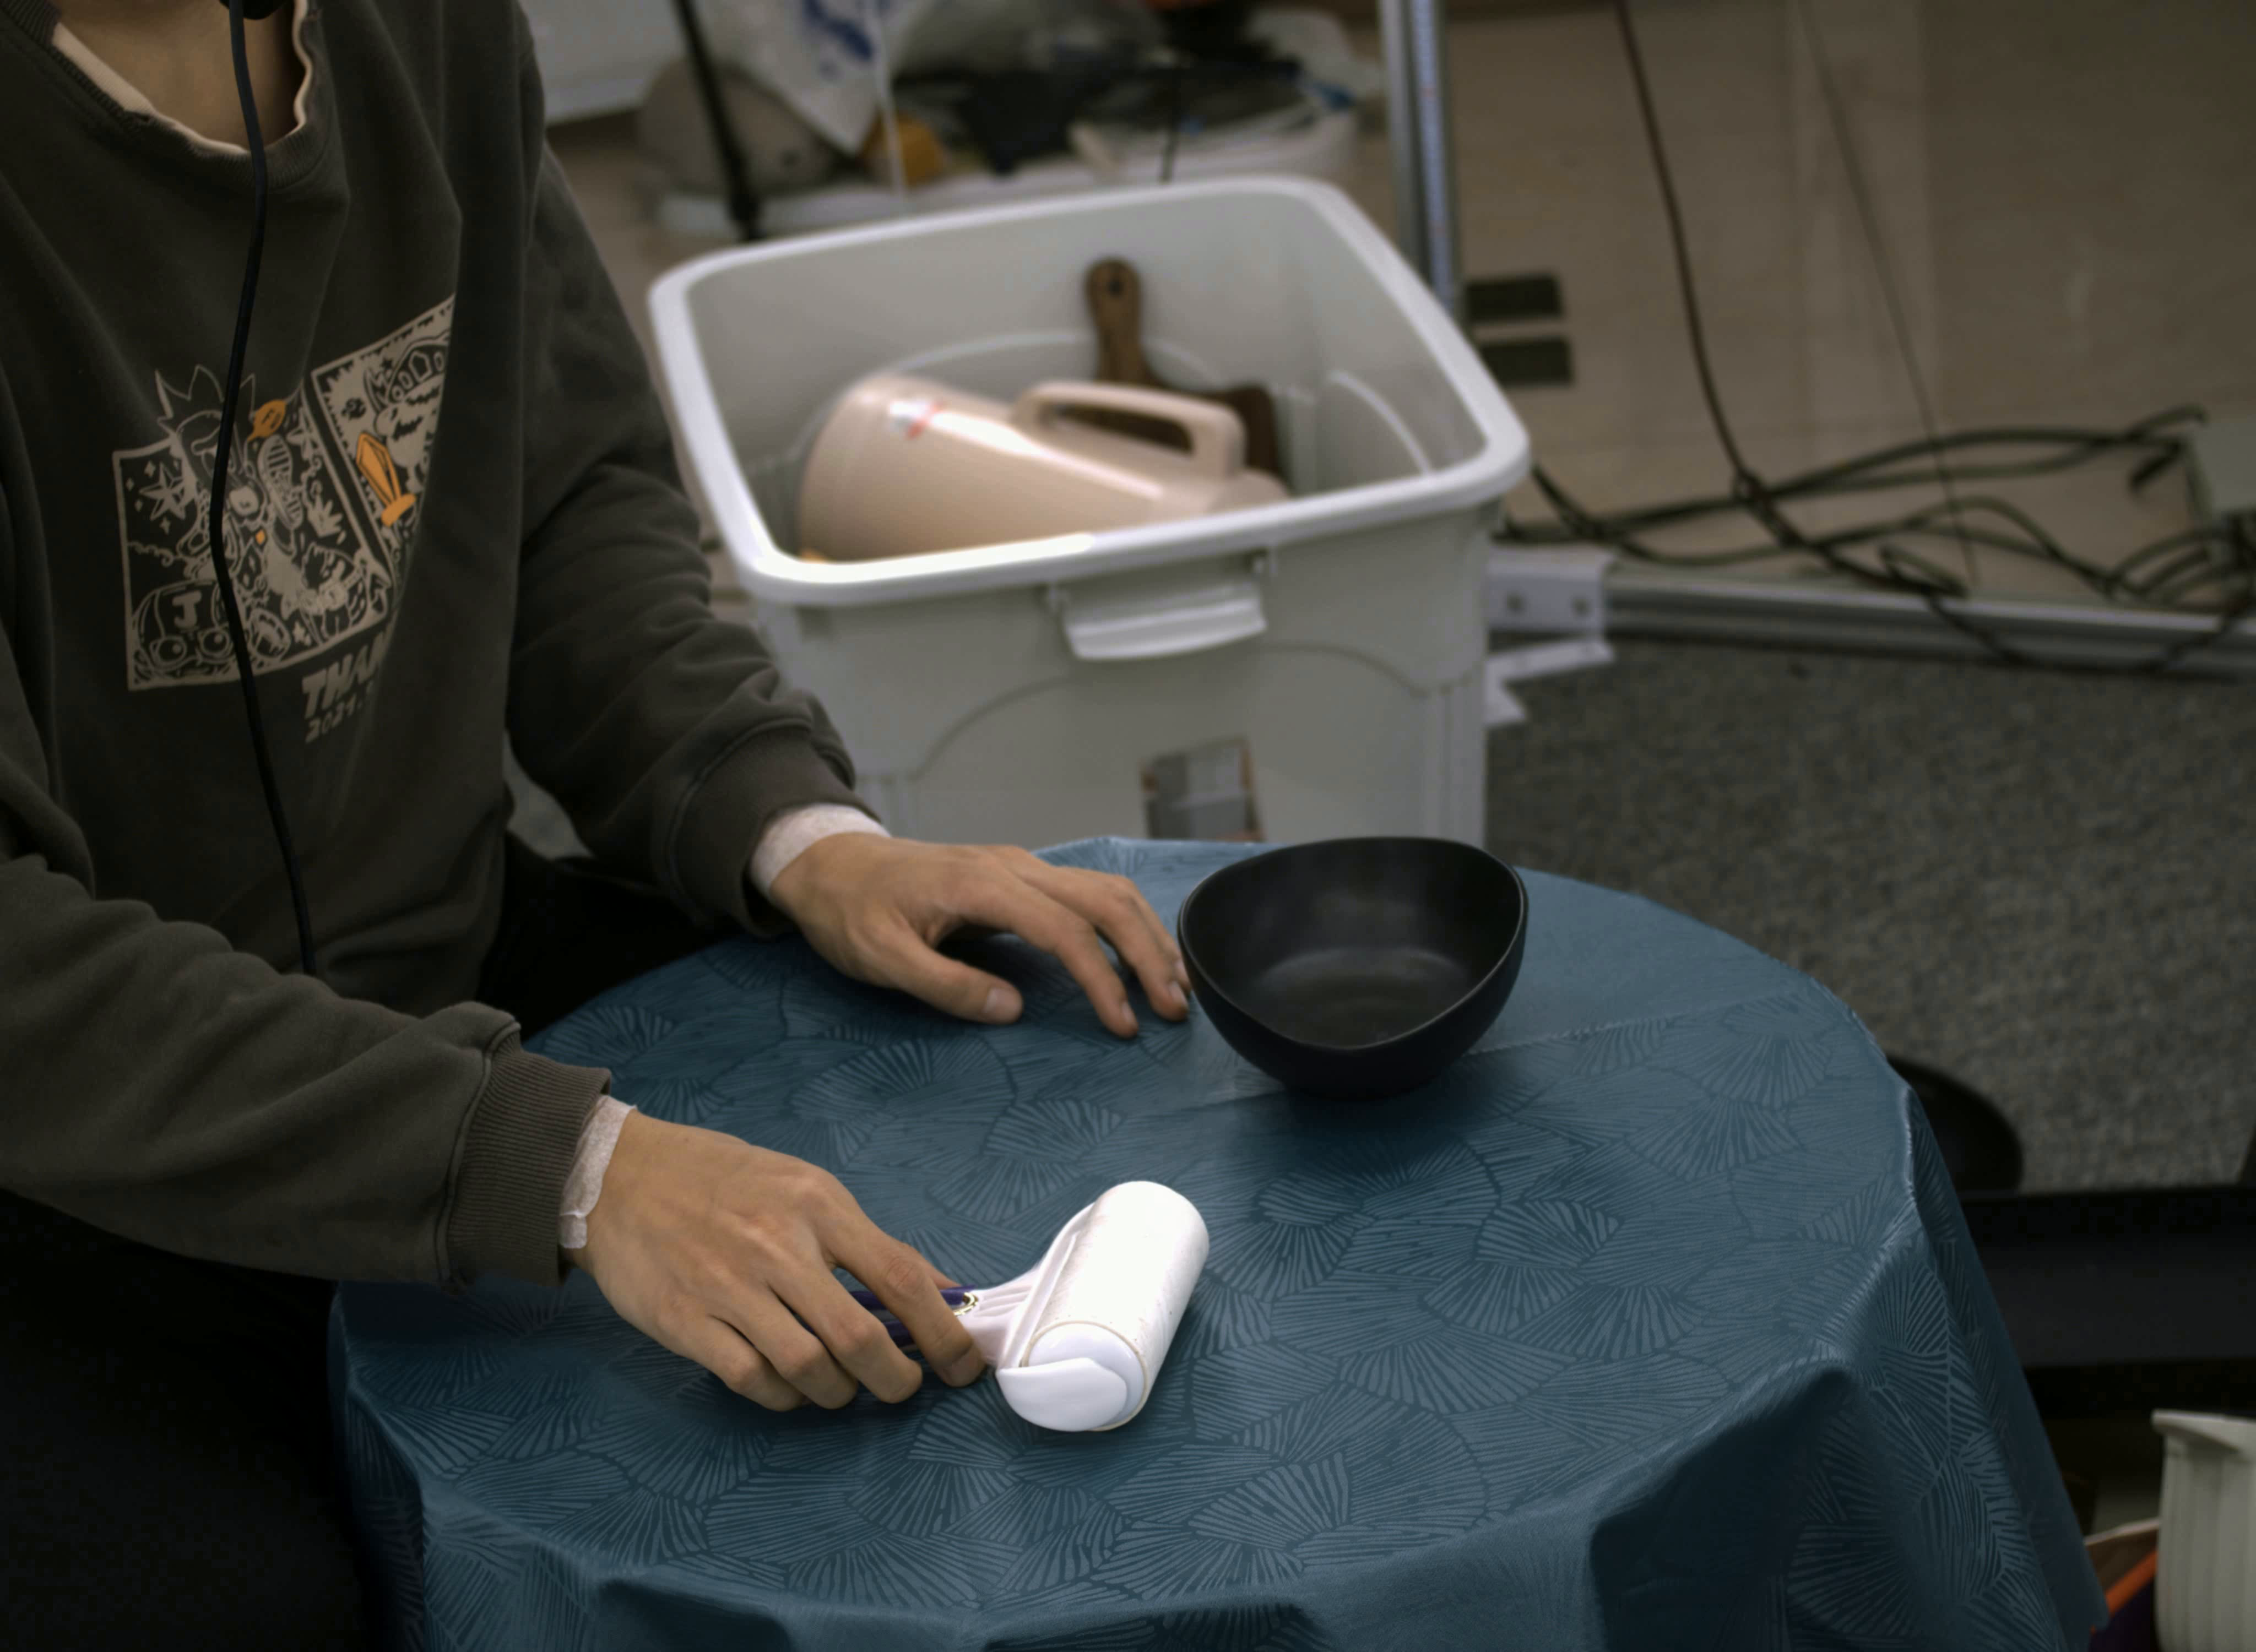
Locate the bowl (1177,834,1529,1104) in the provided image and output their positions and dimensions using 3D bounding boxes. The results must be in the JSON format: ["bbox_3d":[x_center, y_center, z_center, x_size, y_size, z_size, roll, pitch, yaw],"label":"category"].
[{"bbox_3d":[0.091,0.063,2.211,0.137,0.068,0.167,-7,27,1],"label":"bowl"}]

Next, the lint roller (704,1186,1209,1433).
[{"bbox_3d":[-0.067,0.169,2.042,0.180,0.051,0.131,4,27,15],"label":"lint roller"}]
